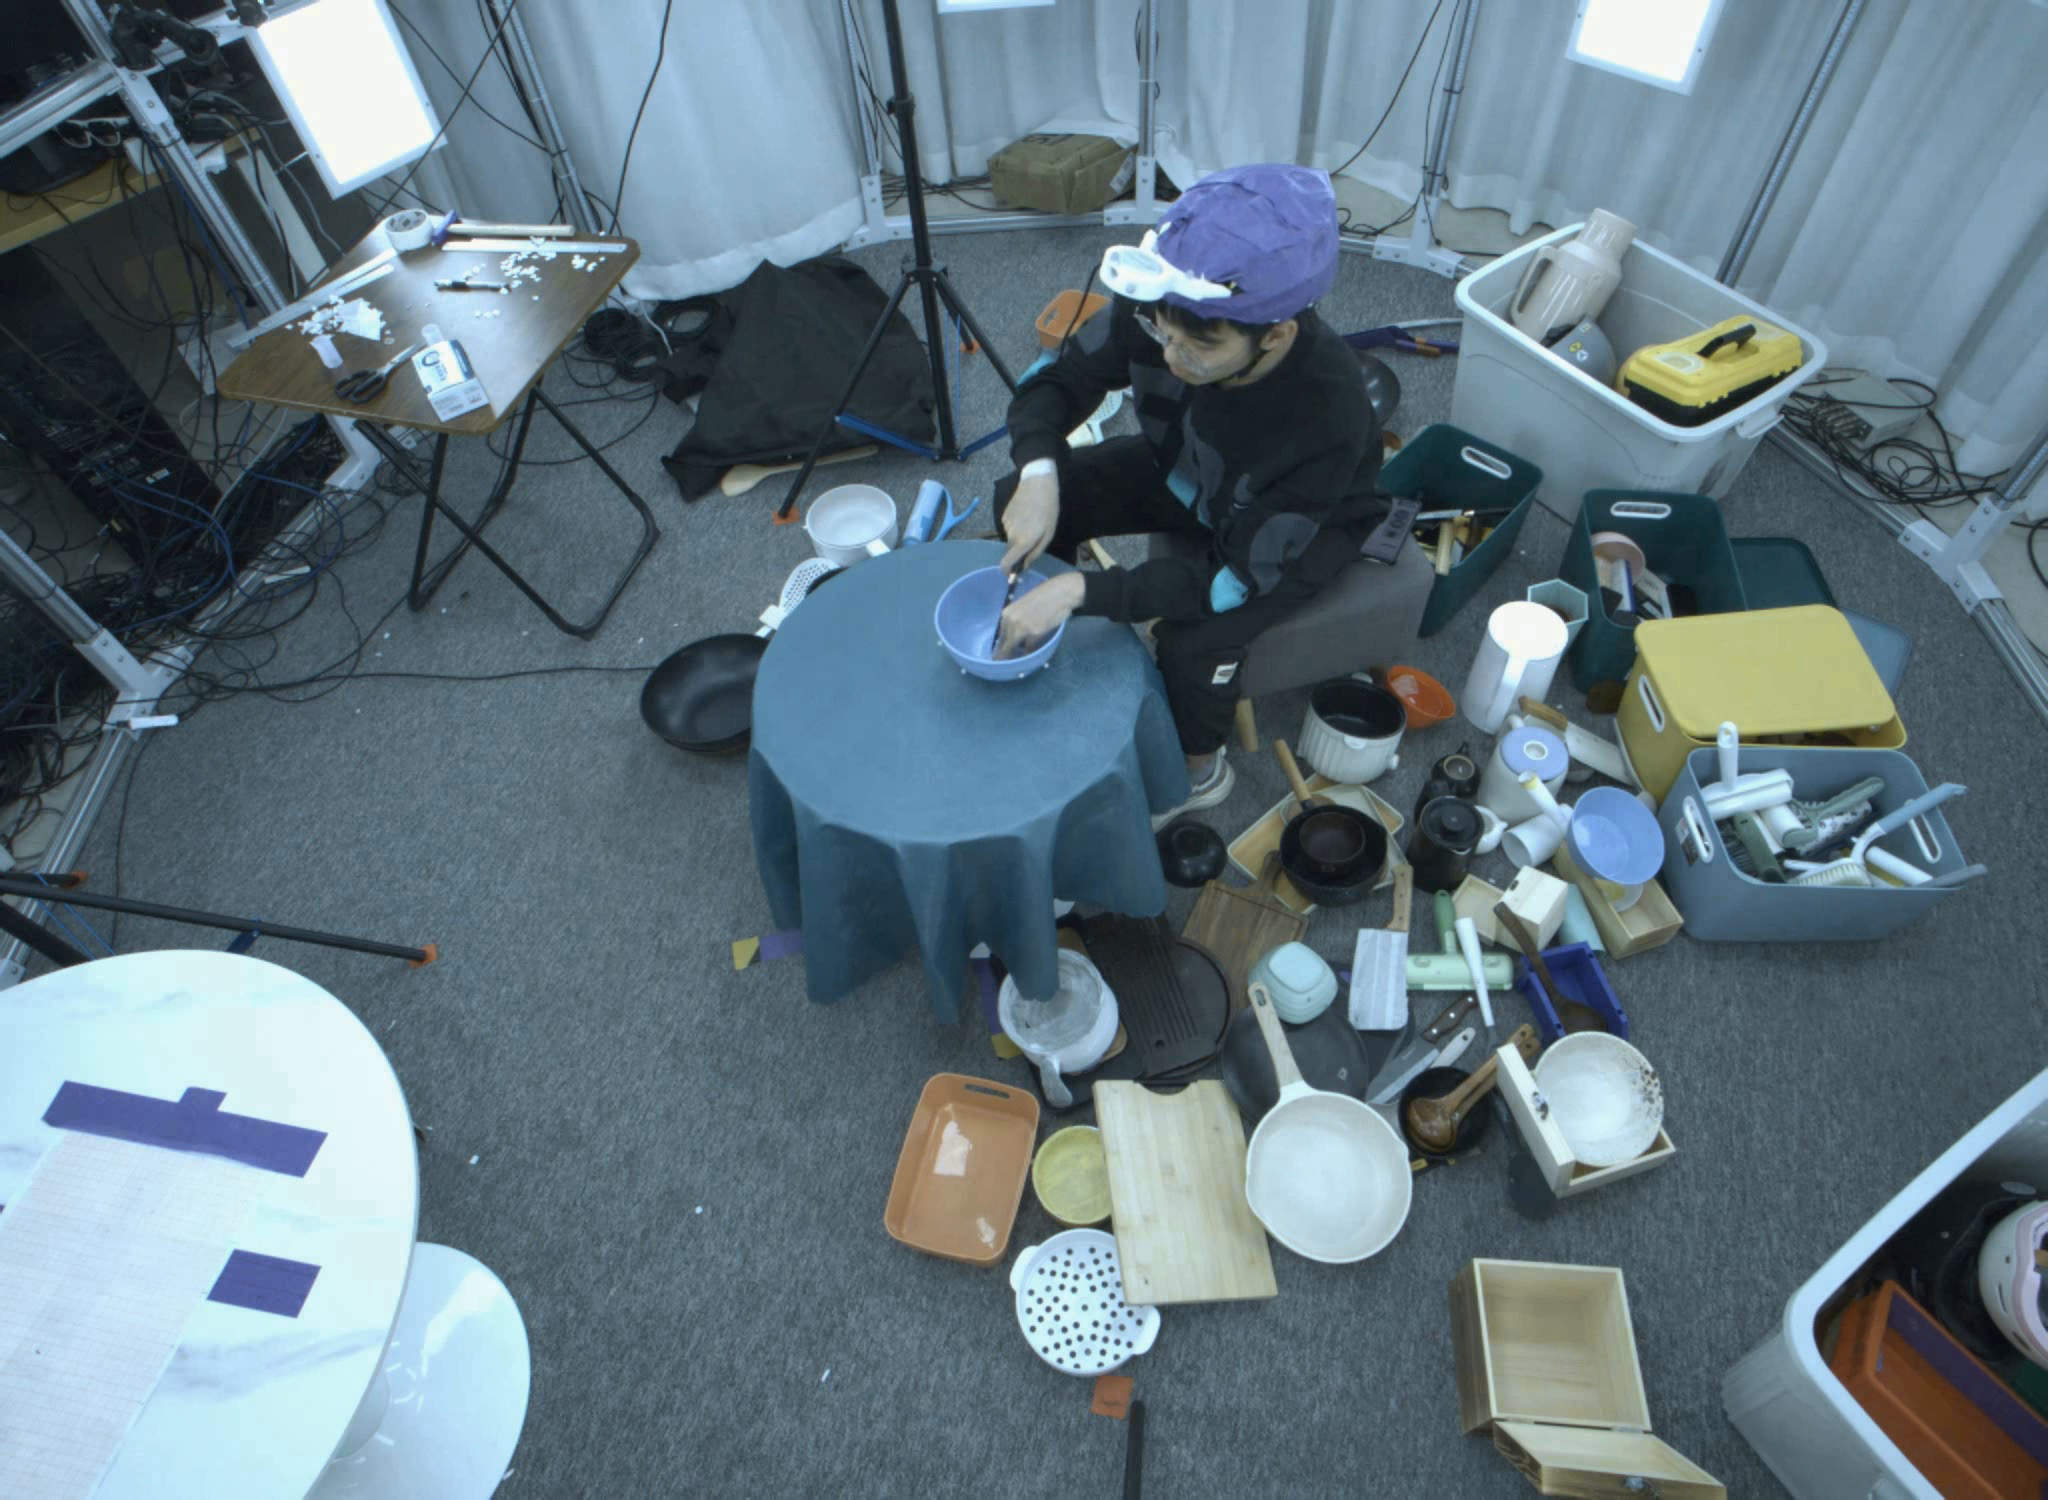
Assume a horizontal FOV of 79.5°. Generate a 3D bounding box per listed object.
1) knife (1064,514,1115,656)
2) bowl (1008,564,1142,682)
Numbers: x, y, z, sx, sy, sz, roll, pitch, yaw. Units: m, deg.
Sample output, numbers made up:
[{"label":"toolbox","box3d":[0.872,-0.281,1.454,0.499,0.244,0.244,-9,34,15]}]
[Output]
[{"label":"knife","box3d":[0.095,-0.247,1.852,0.017,0.026,0.226,22,104,16]},{"label":"bowl","box3d":[0.078,-0.176,1.846,0.196,0.096,0.194,-2,57,4]}]
